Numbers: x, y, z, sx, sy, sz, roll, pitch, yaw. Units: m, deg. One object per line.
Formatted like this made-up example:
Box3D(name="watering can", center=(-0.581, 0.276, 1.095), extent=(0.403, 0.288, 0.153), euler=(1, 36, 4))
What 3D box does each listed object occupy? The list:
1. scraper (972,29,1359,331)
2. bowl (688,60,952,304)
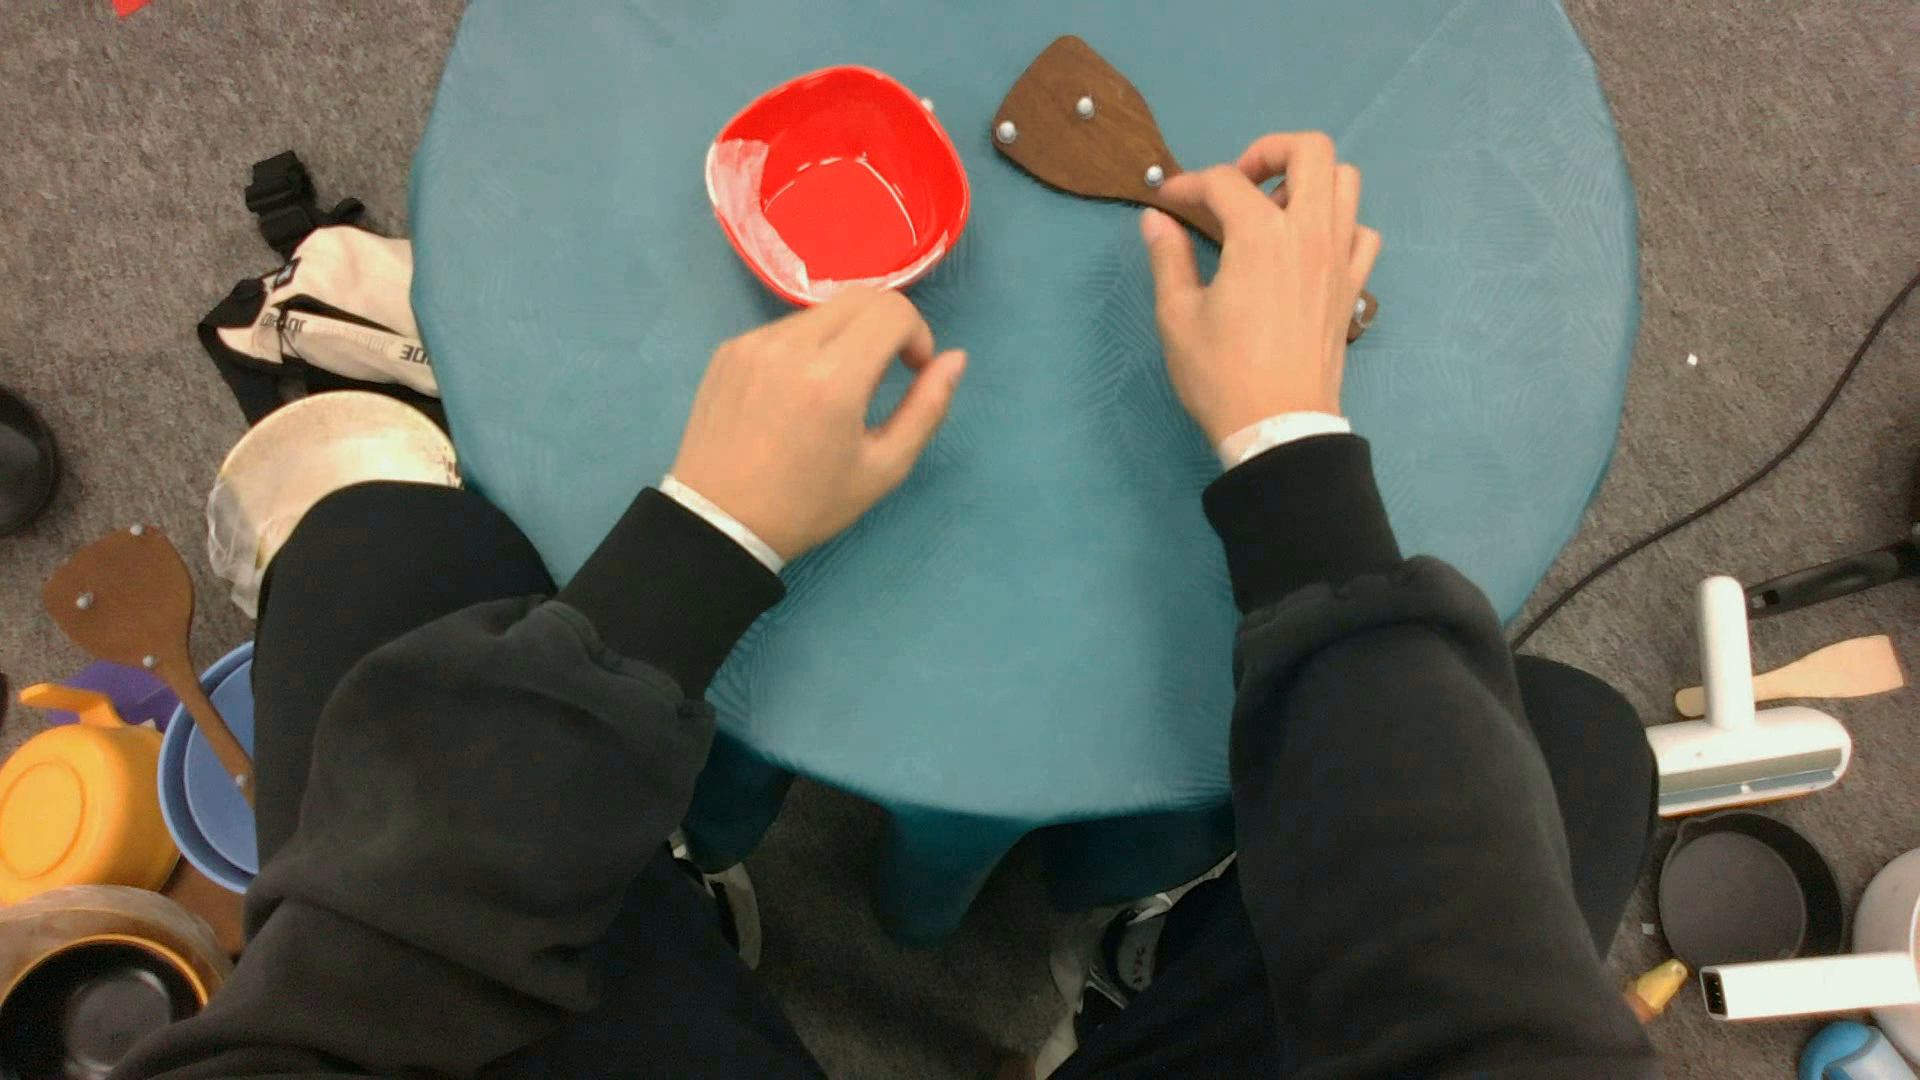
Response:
Box3D(name="scraper", center=(0.105, -0.171, 0.679), extent=(0.211, 0.011, 0.076), euler=(36, 77, 4))
Box3D(name="bowl", center=(-0.064, -0.158, 0.642), extent=(0.119, 0.051, 0.119), euler=(1, 74, -5))
